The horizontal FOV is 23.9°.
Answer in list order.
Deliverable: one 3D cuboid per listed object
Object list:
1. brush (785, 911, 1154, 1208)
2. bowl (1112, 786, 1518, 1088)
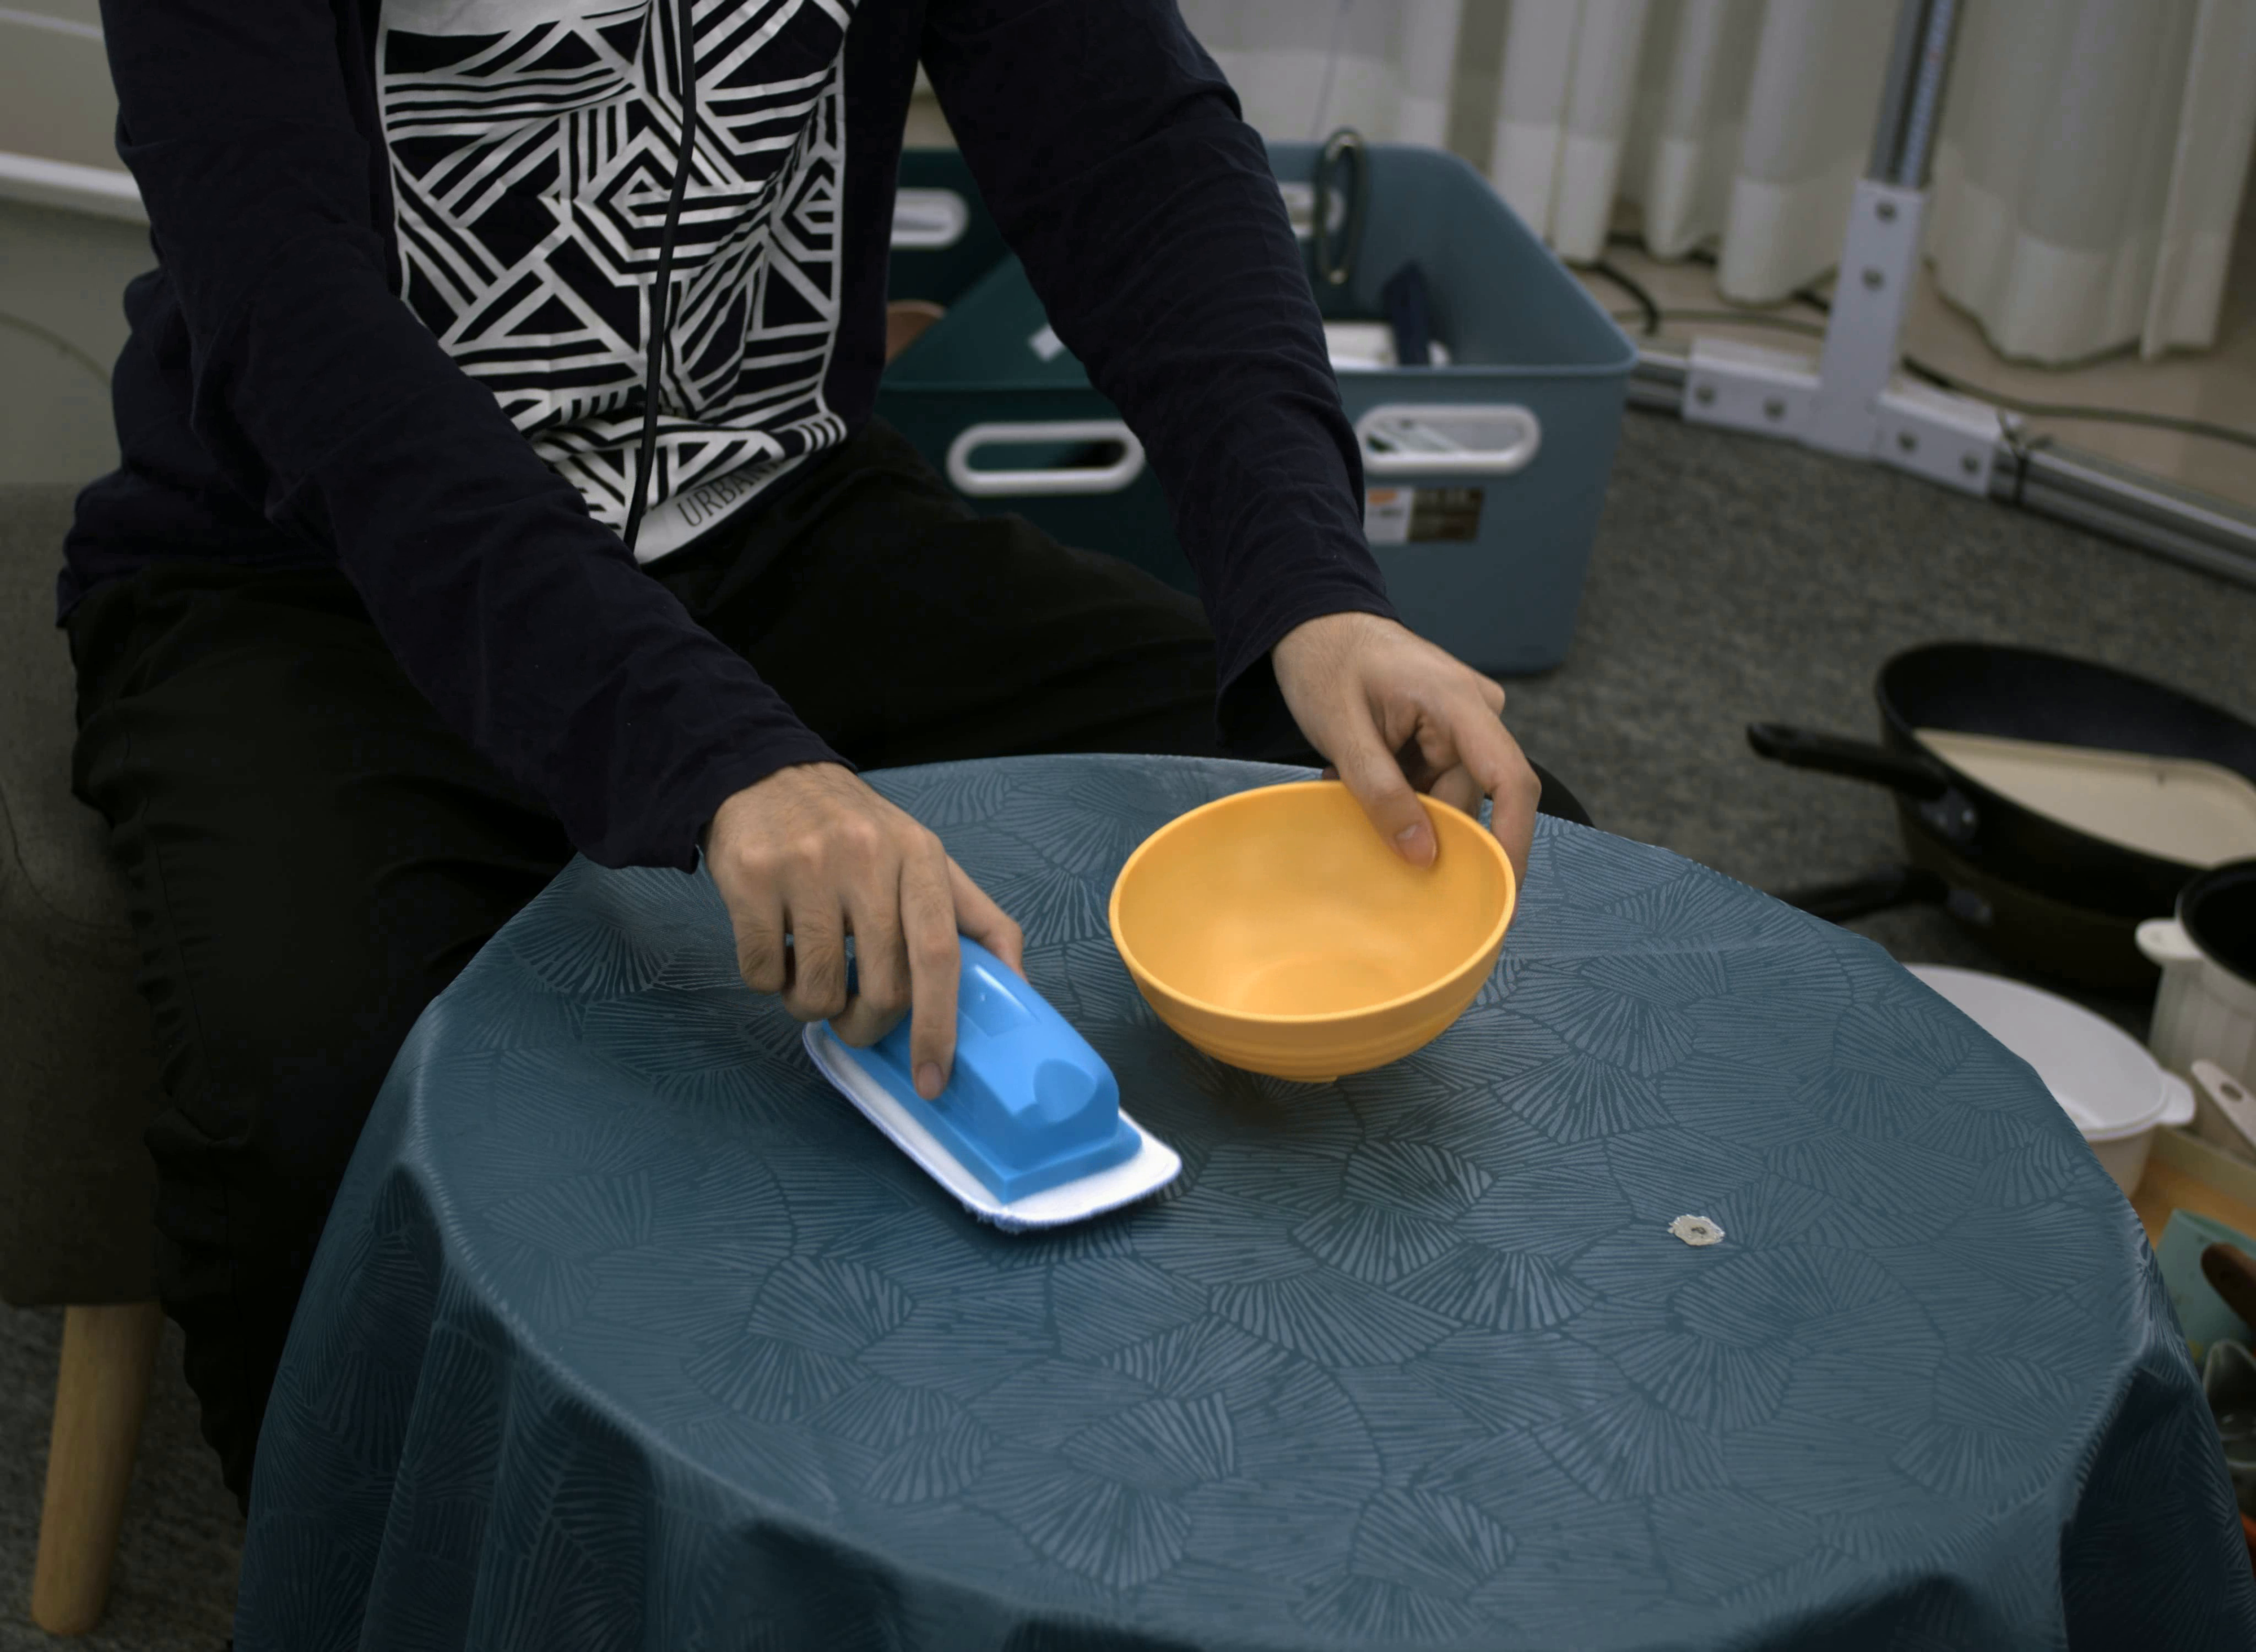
[{"bbox_3d":[-0.052,0.075,1.815,0.083,0.056,0.145,-10,35,-32],"label":"brush"},{"bbox_3d":[0.067,0.050,1.889,0.145,0.060,0.146,-2,34,1],"label":"bowl"}]
